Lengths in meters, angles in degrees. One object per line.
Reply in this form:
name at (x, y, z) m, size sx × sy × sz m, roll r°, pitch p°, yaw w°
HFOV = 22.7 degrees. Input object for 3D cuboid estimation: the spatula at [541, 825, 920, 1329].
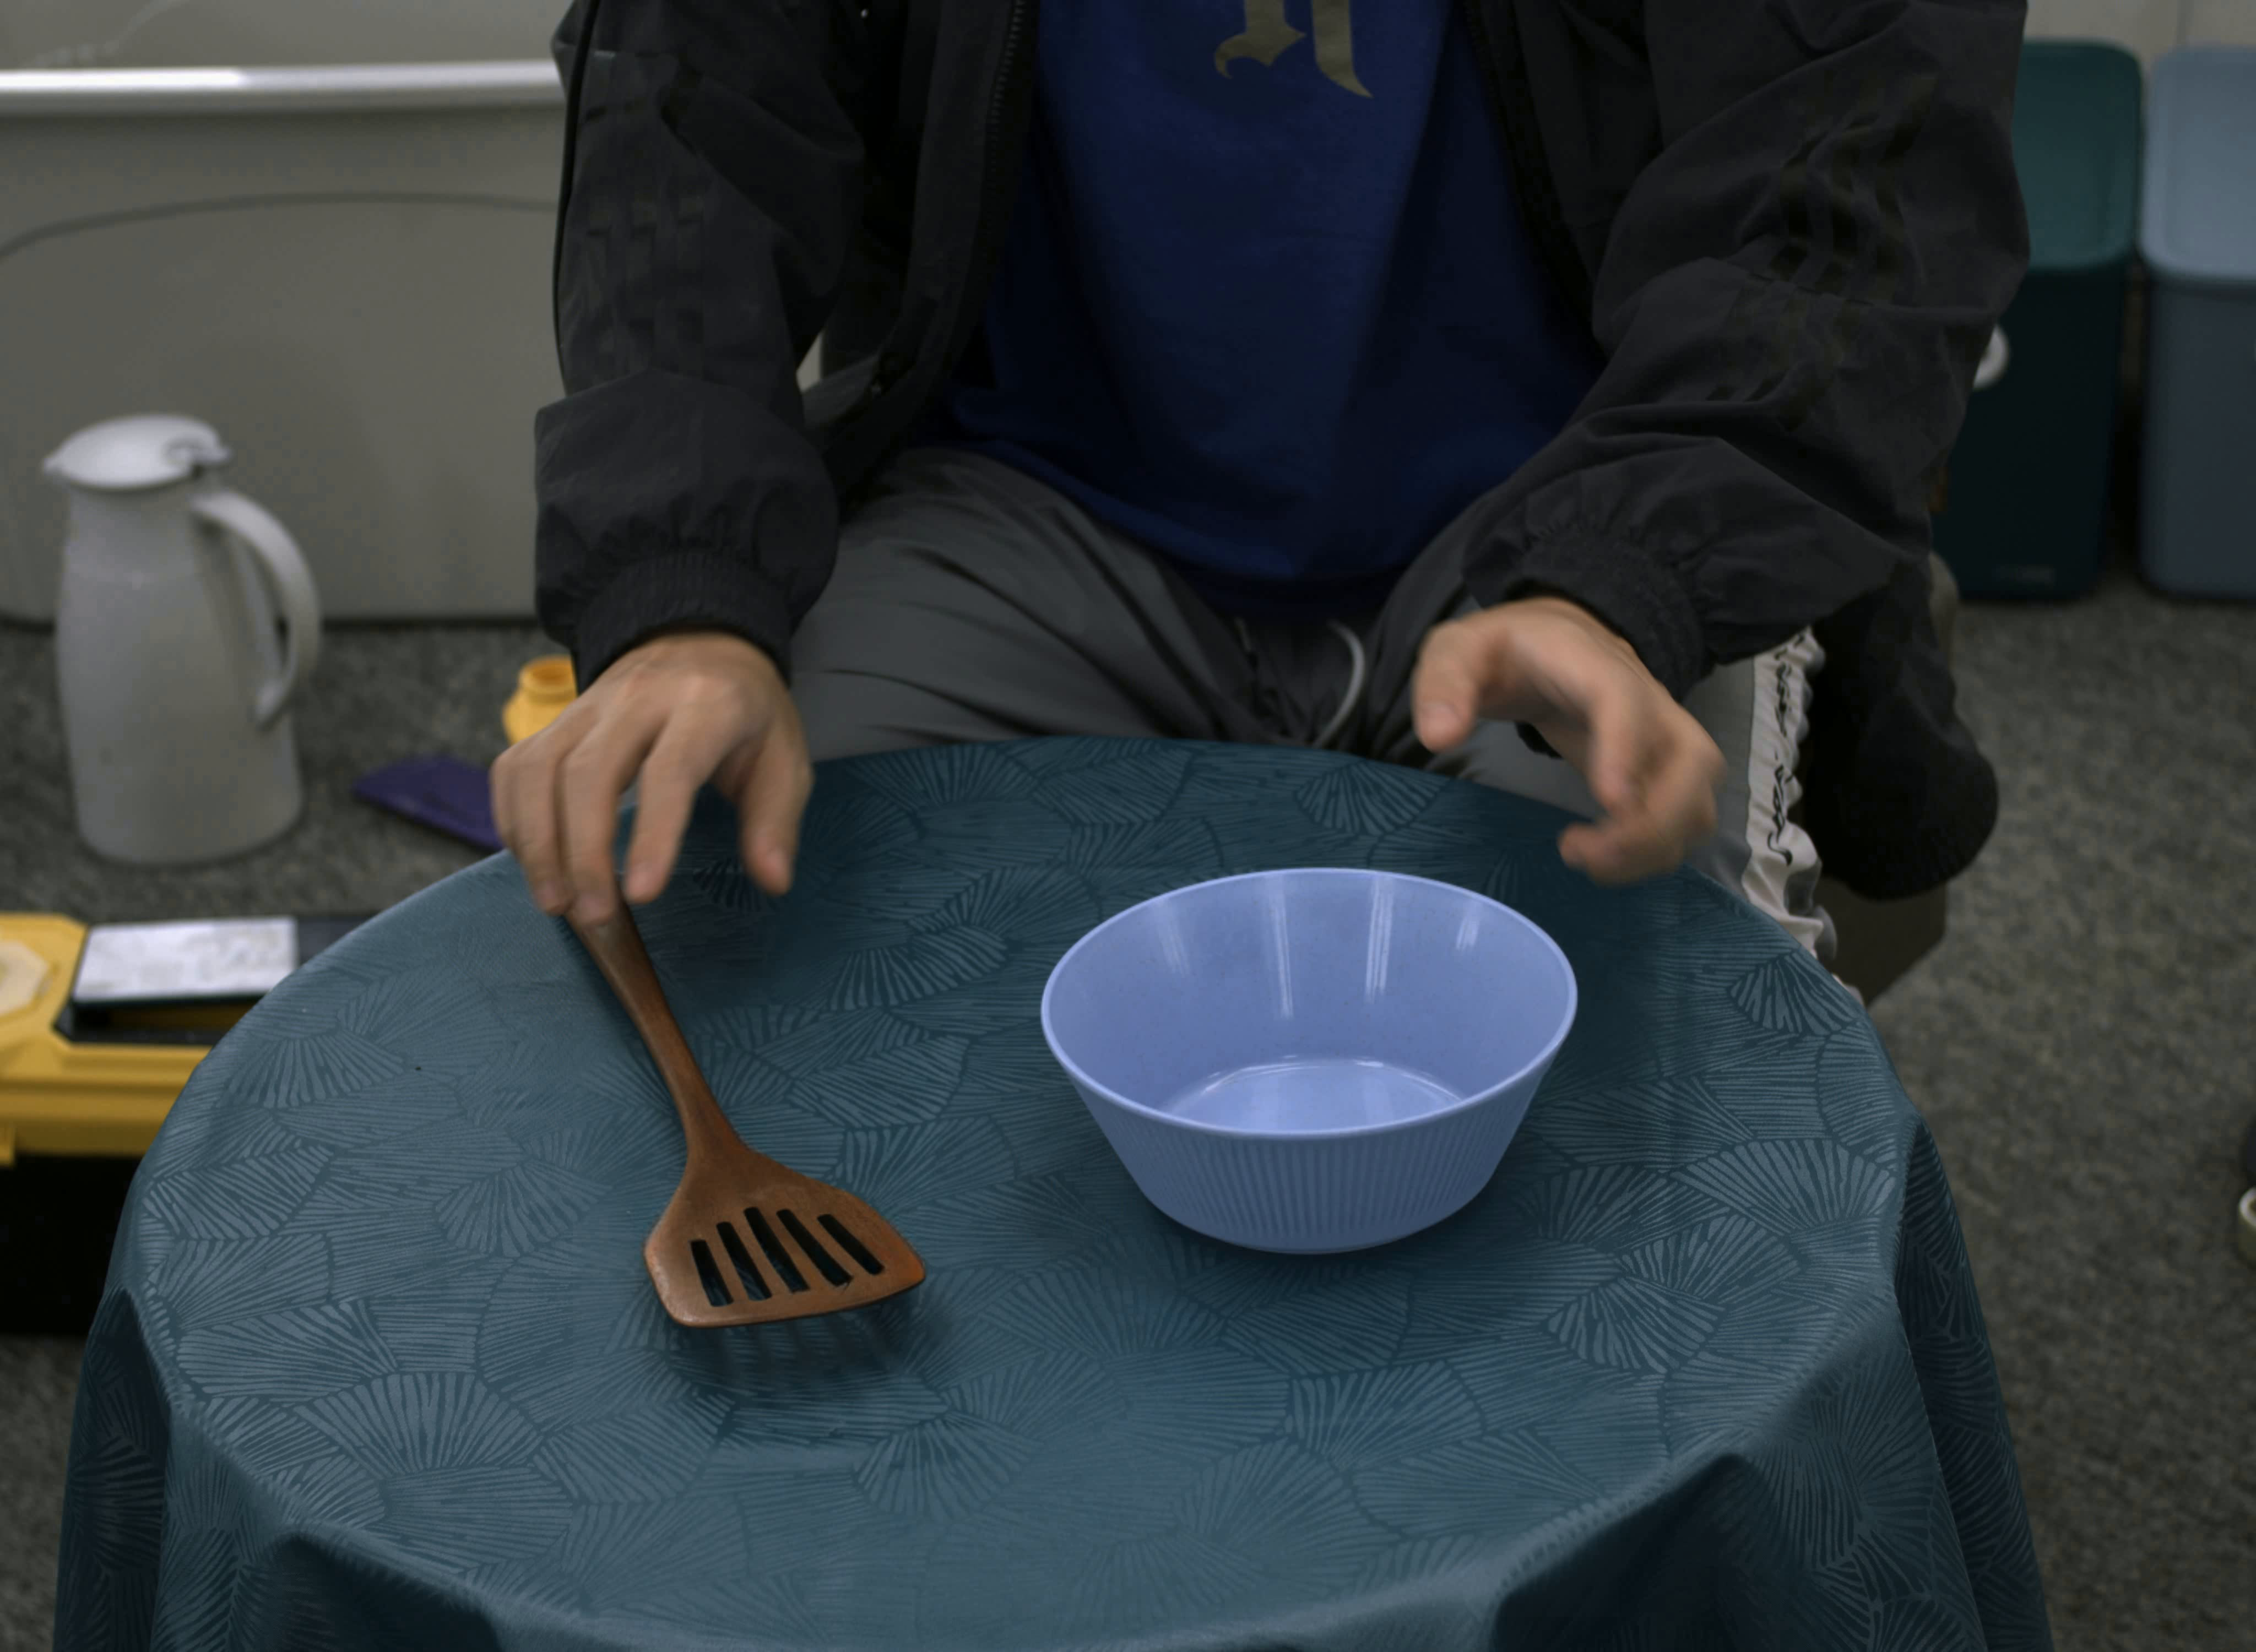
spatula at (-0.155, 0.083, 1.929) m, size 0.085 × 0.024 × 0.390 m, roll -9°, pitch 27°, yaw -14°

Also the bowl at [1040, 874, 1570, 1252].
bowl at (0.059, 0.084, 1.852) m, size 0.175 × 0.069 × 0.178 m, roll -2°, pitch 26°, yaw 1°
